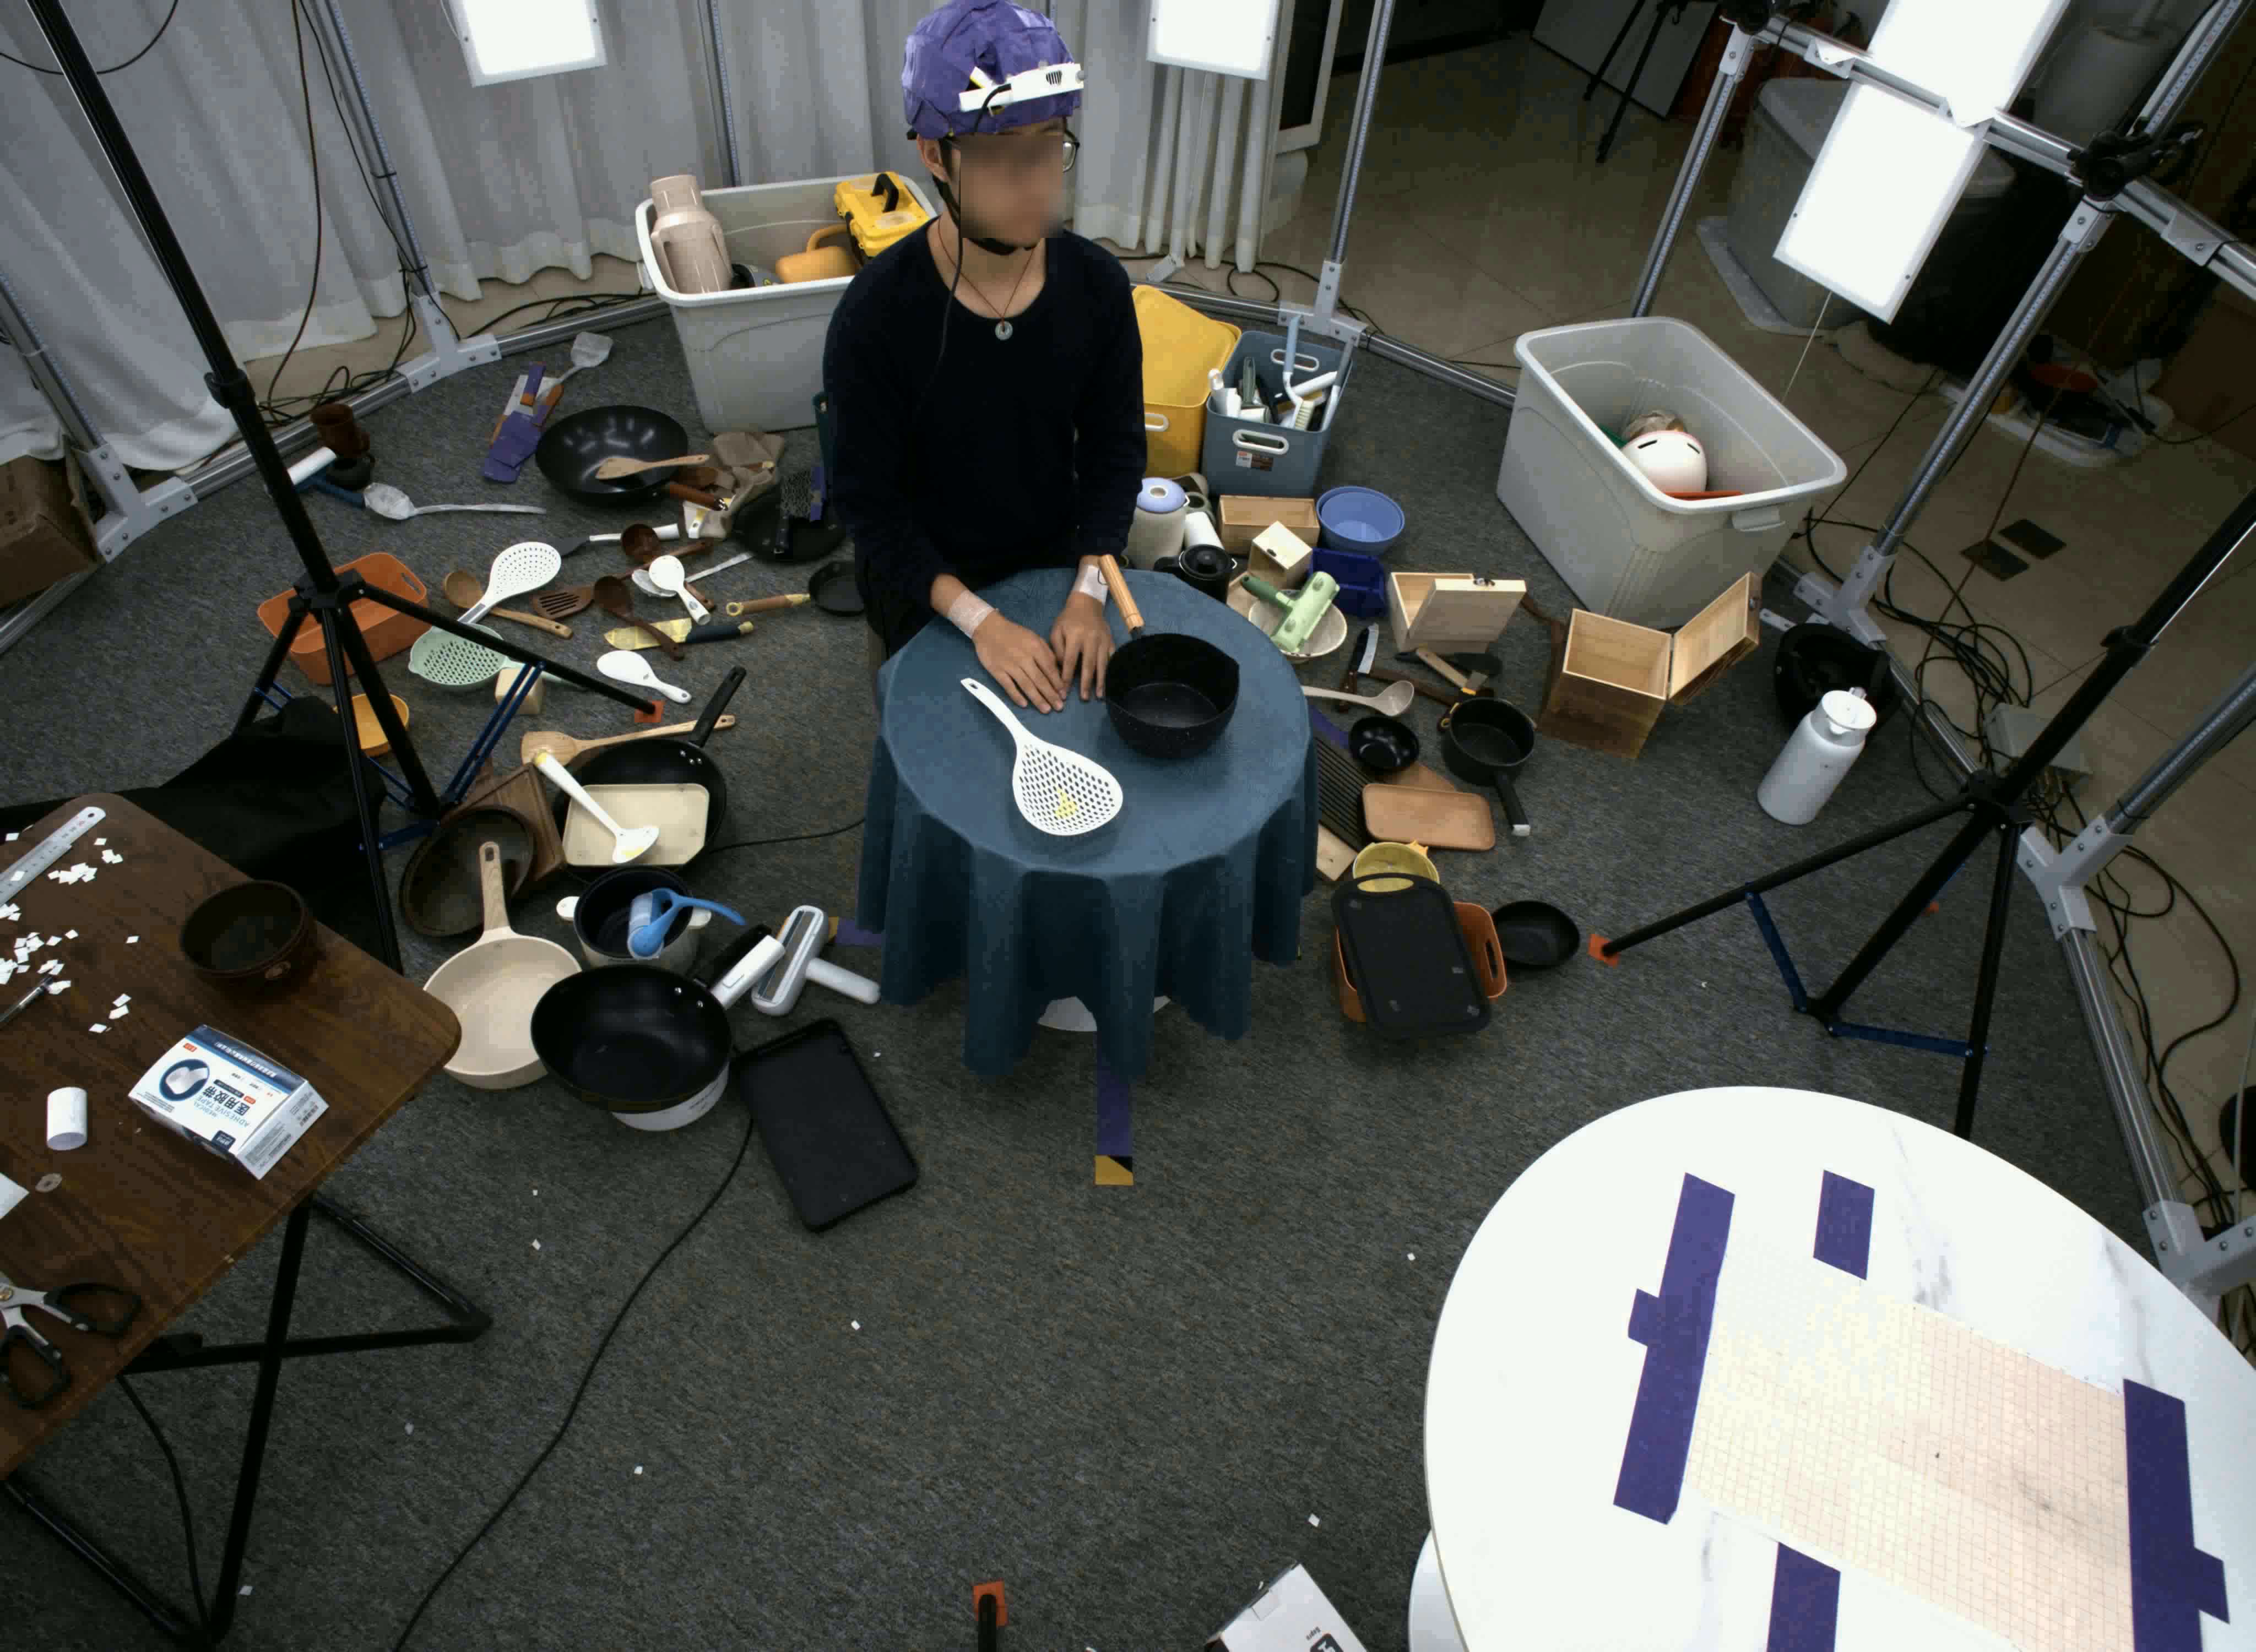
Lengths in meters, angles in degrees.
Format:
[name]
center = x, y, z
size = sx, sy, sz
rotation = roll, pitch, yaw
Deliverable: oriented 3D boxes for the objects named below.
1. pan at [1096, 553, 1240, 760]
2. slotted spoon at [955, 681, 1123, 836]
[pan]
center = 0.026, -0.239, 1.808
size = 0.207, 0.105, 0.351
rotation = -17, 53, -16
[slotted spoon]
center = -0.137, -0.103, 1.721
size = 0.137, 0.049, 0.355
rotation = -25, 57, -22
